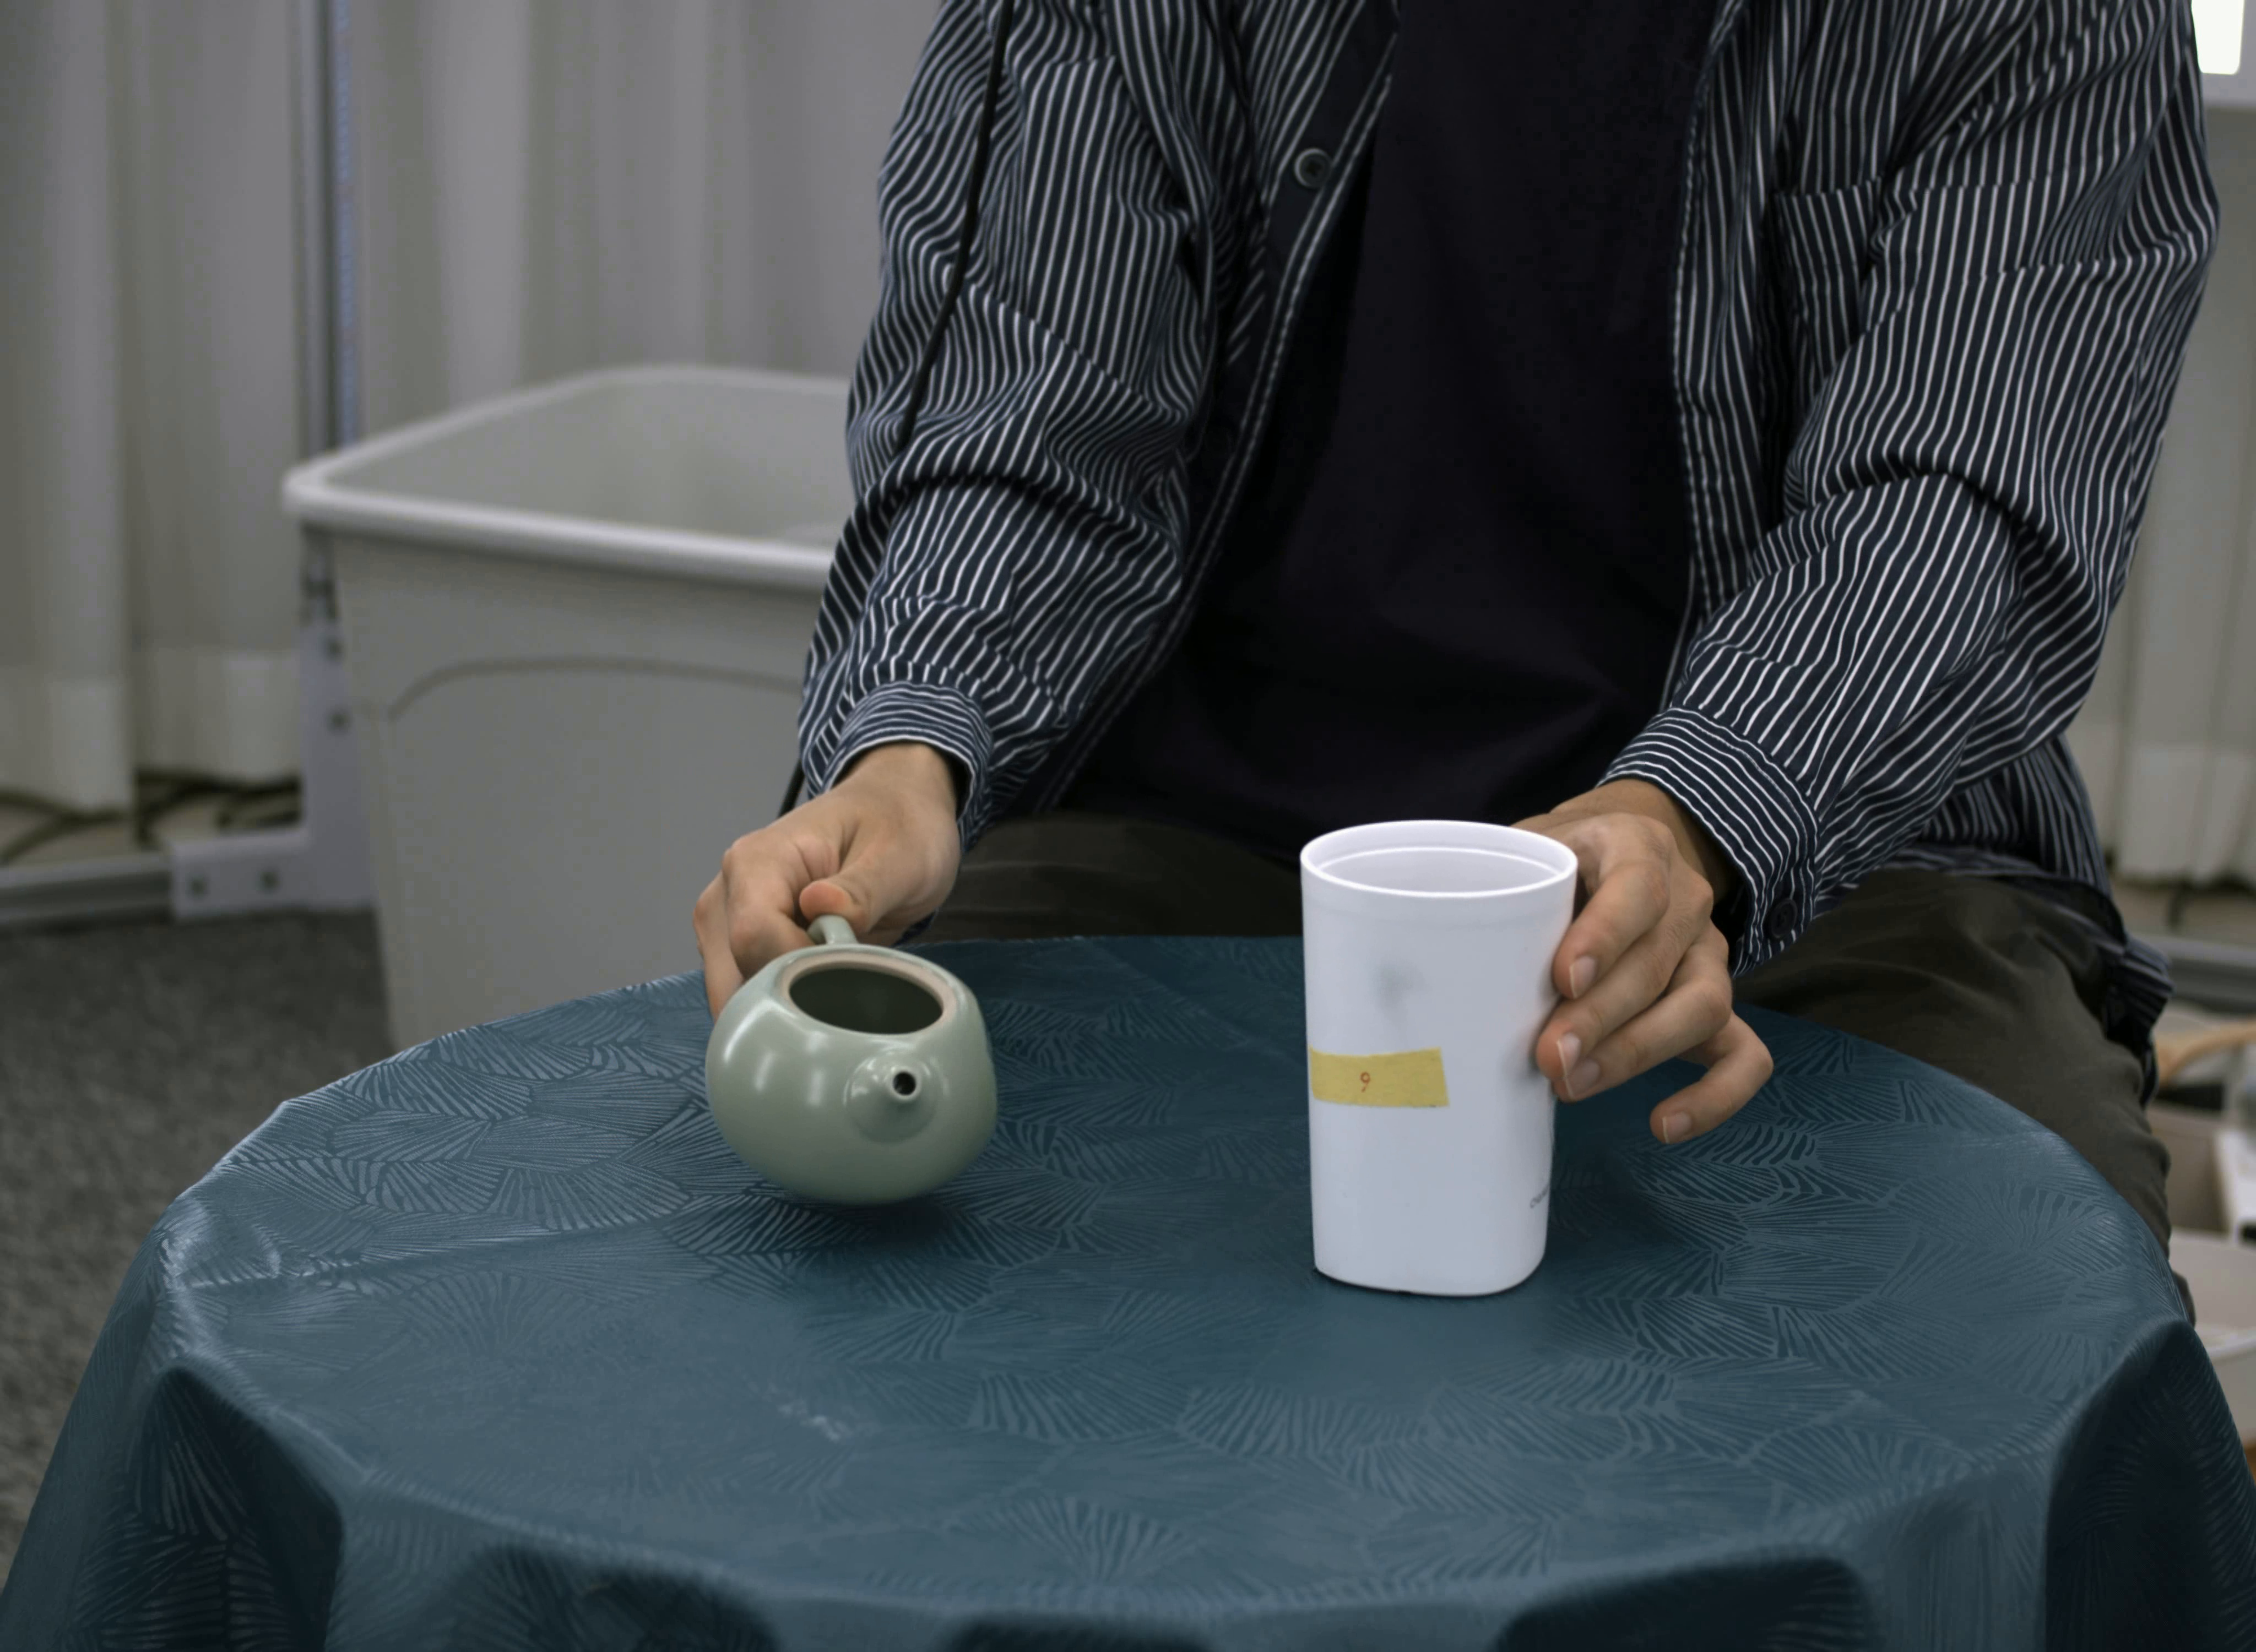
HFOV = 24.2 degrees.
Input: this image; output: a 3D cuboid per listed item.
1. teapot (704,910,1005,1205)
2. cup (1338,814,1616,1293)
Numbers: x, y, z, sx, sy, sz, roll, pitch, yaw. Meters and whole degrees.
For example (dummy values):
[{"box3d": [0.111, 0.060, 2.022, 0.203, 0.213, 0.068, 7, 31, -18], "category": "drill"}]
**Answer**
[{"box3d": [-0.084, 0.071, 1.601, 0.091, 0.061, 0.127, 1, 27, -12], "category": "teapot"}, {"box3d": [0.101, 0.067, 1.548, 0.081, 0.126, 0.081, 1, 16, 0], "category": "cup"}]
